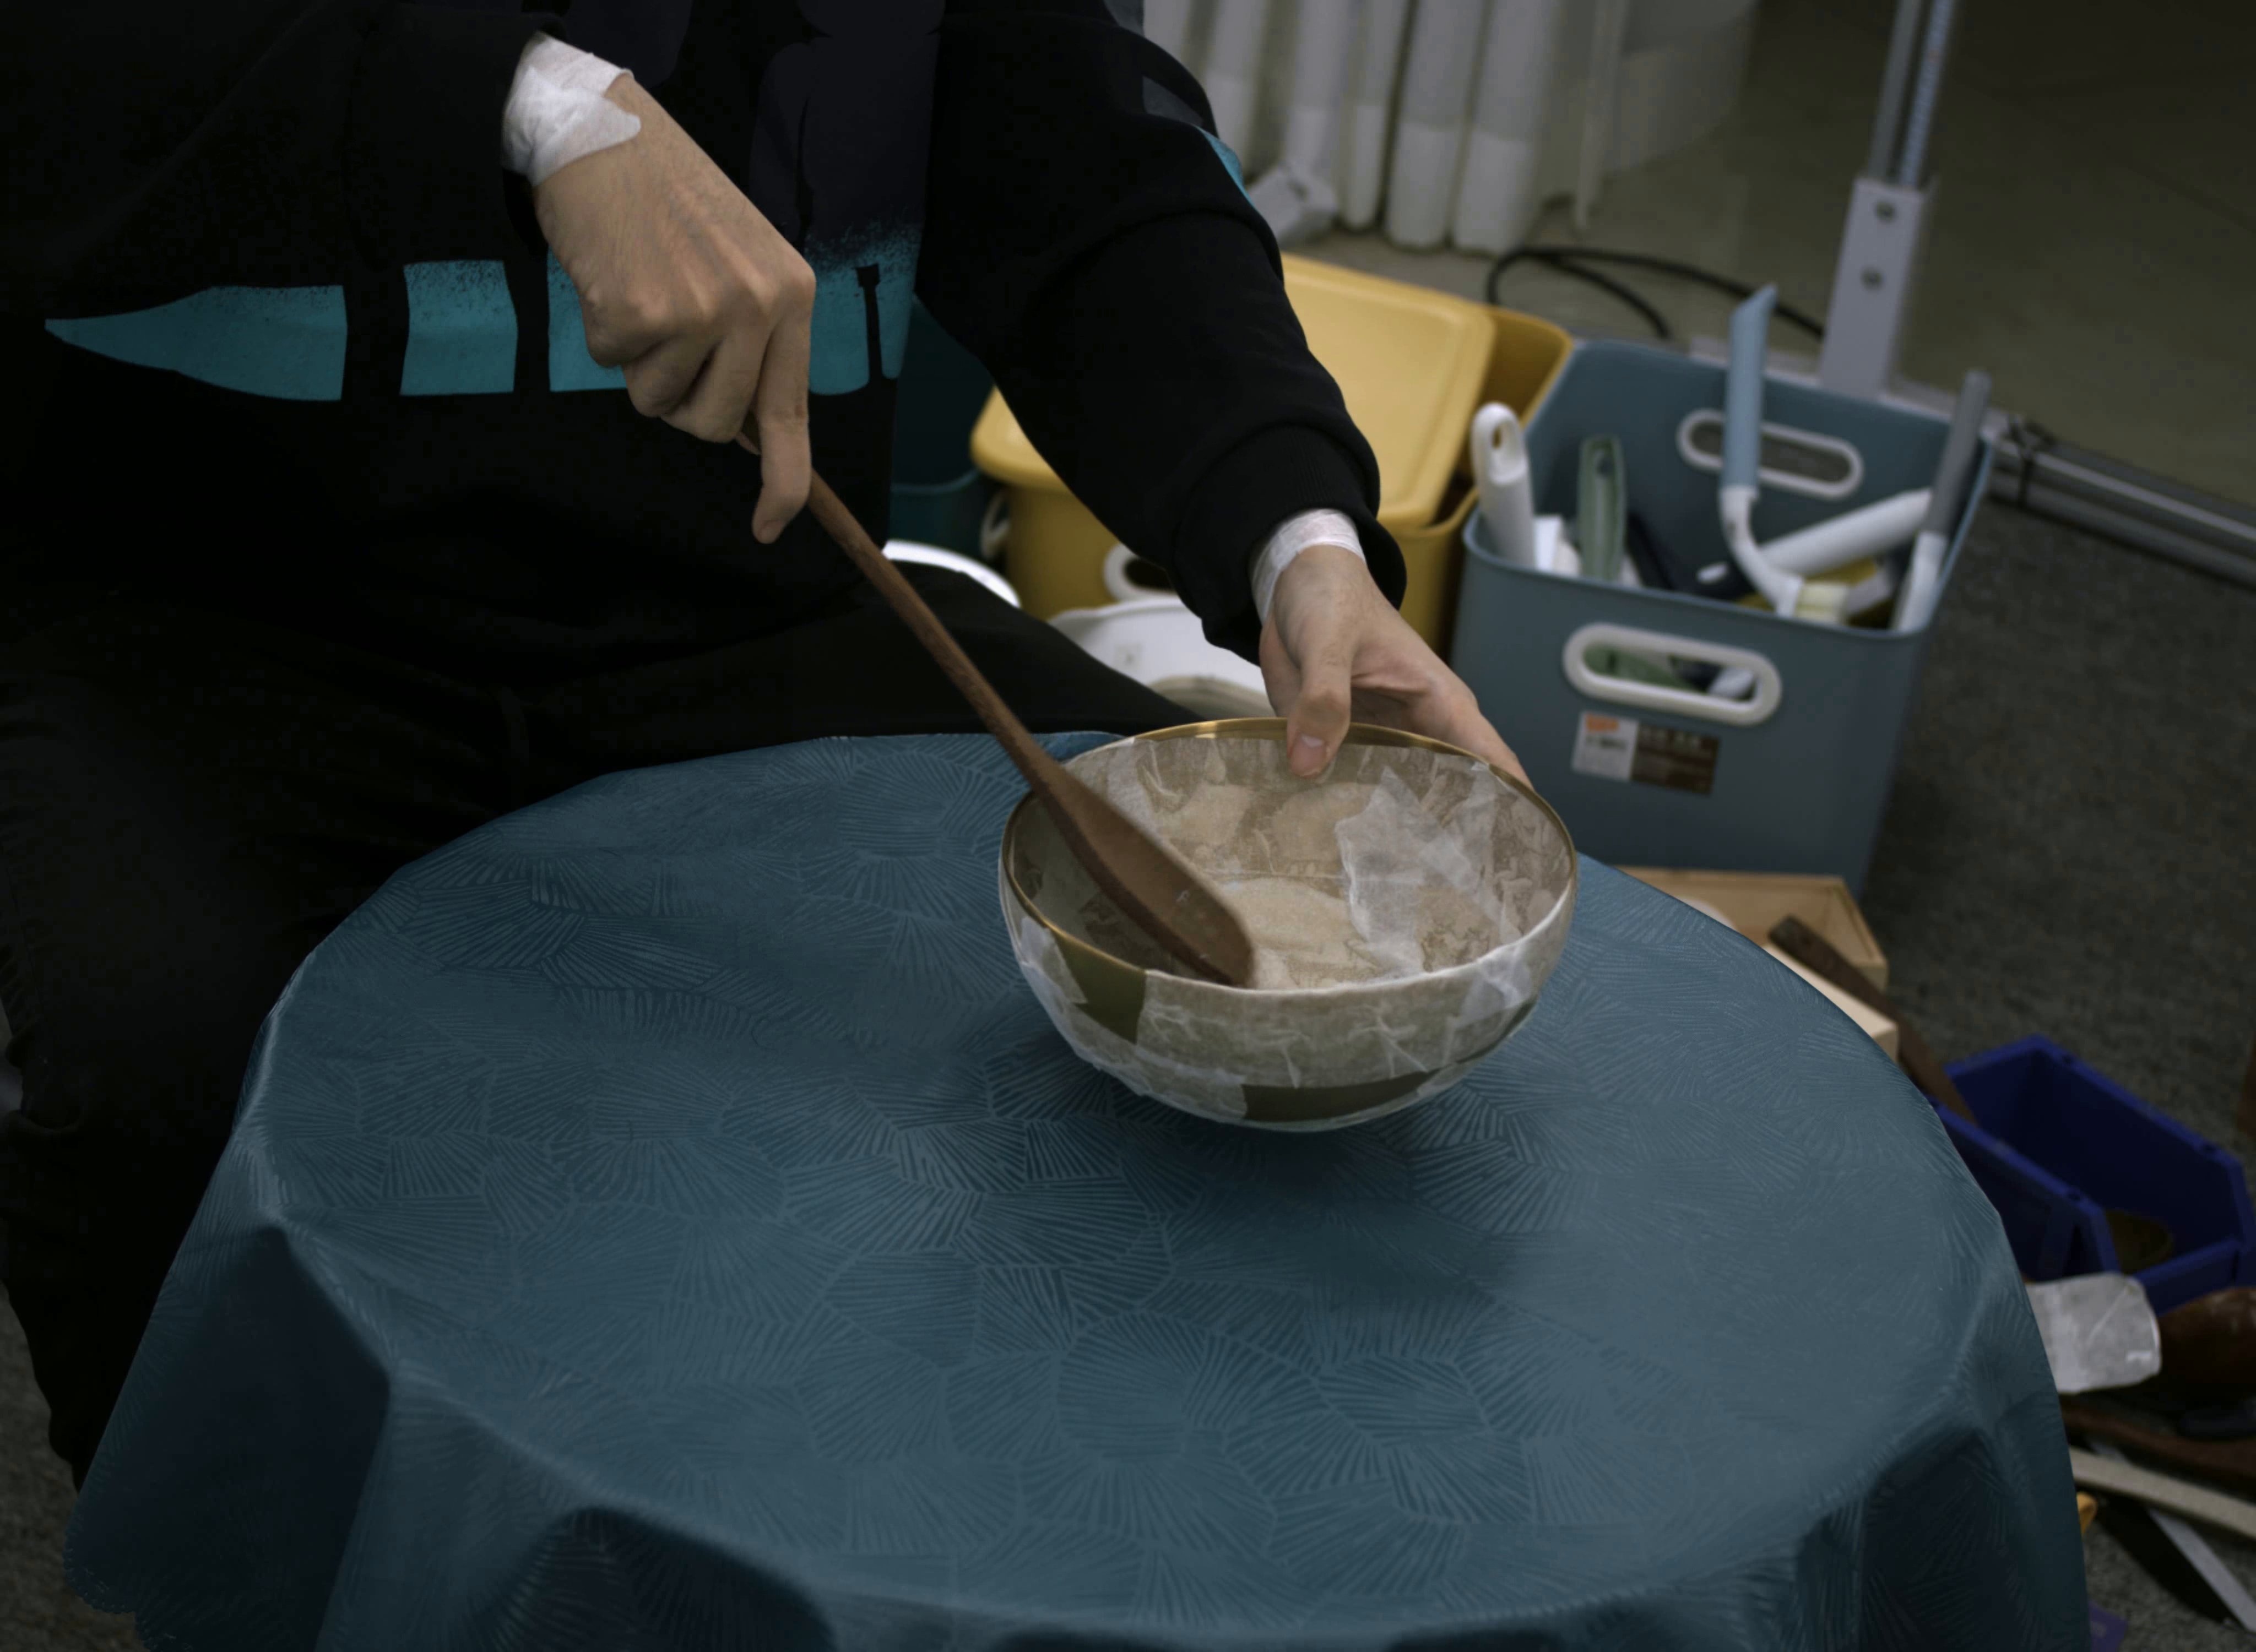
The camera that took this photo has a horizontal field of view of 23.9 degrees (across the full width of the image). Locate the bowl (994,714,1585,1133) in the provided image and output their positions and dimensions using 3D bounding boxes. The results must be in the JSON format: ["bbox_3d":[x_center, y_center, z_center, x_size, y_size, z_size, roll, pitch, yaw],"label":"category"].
[{"bbox_3d":[0.057,0.045,1.851,0.214,0.094,0.216,-2,26,0],"label":"bowl"}]

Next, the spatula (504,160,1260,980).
[{"bbox_3d":[-0.083,-0.088,1.850,0.385,0.016,0.096,48,13,-7],"label":"spatula"}]
